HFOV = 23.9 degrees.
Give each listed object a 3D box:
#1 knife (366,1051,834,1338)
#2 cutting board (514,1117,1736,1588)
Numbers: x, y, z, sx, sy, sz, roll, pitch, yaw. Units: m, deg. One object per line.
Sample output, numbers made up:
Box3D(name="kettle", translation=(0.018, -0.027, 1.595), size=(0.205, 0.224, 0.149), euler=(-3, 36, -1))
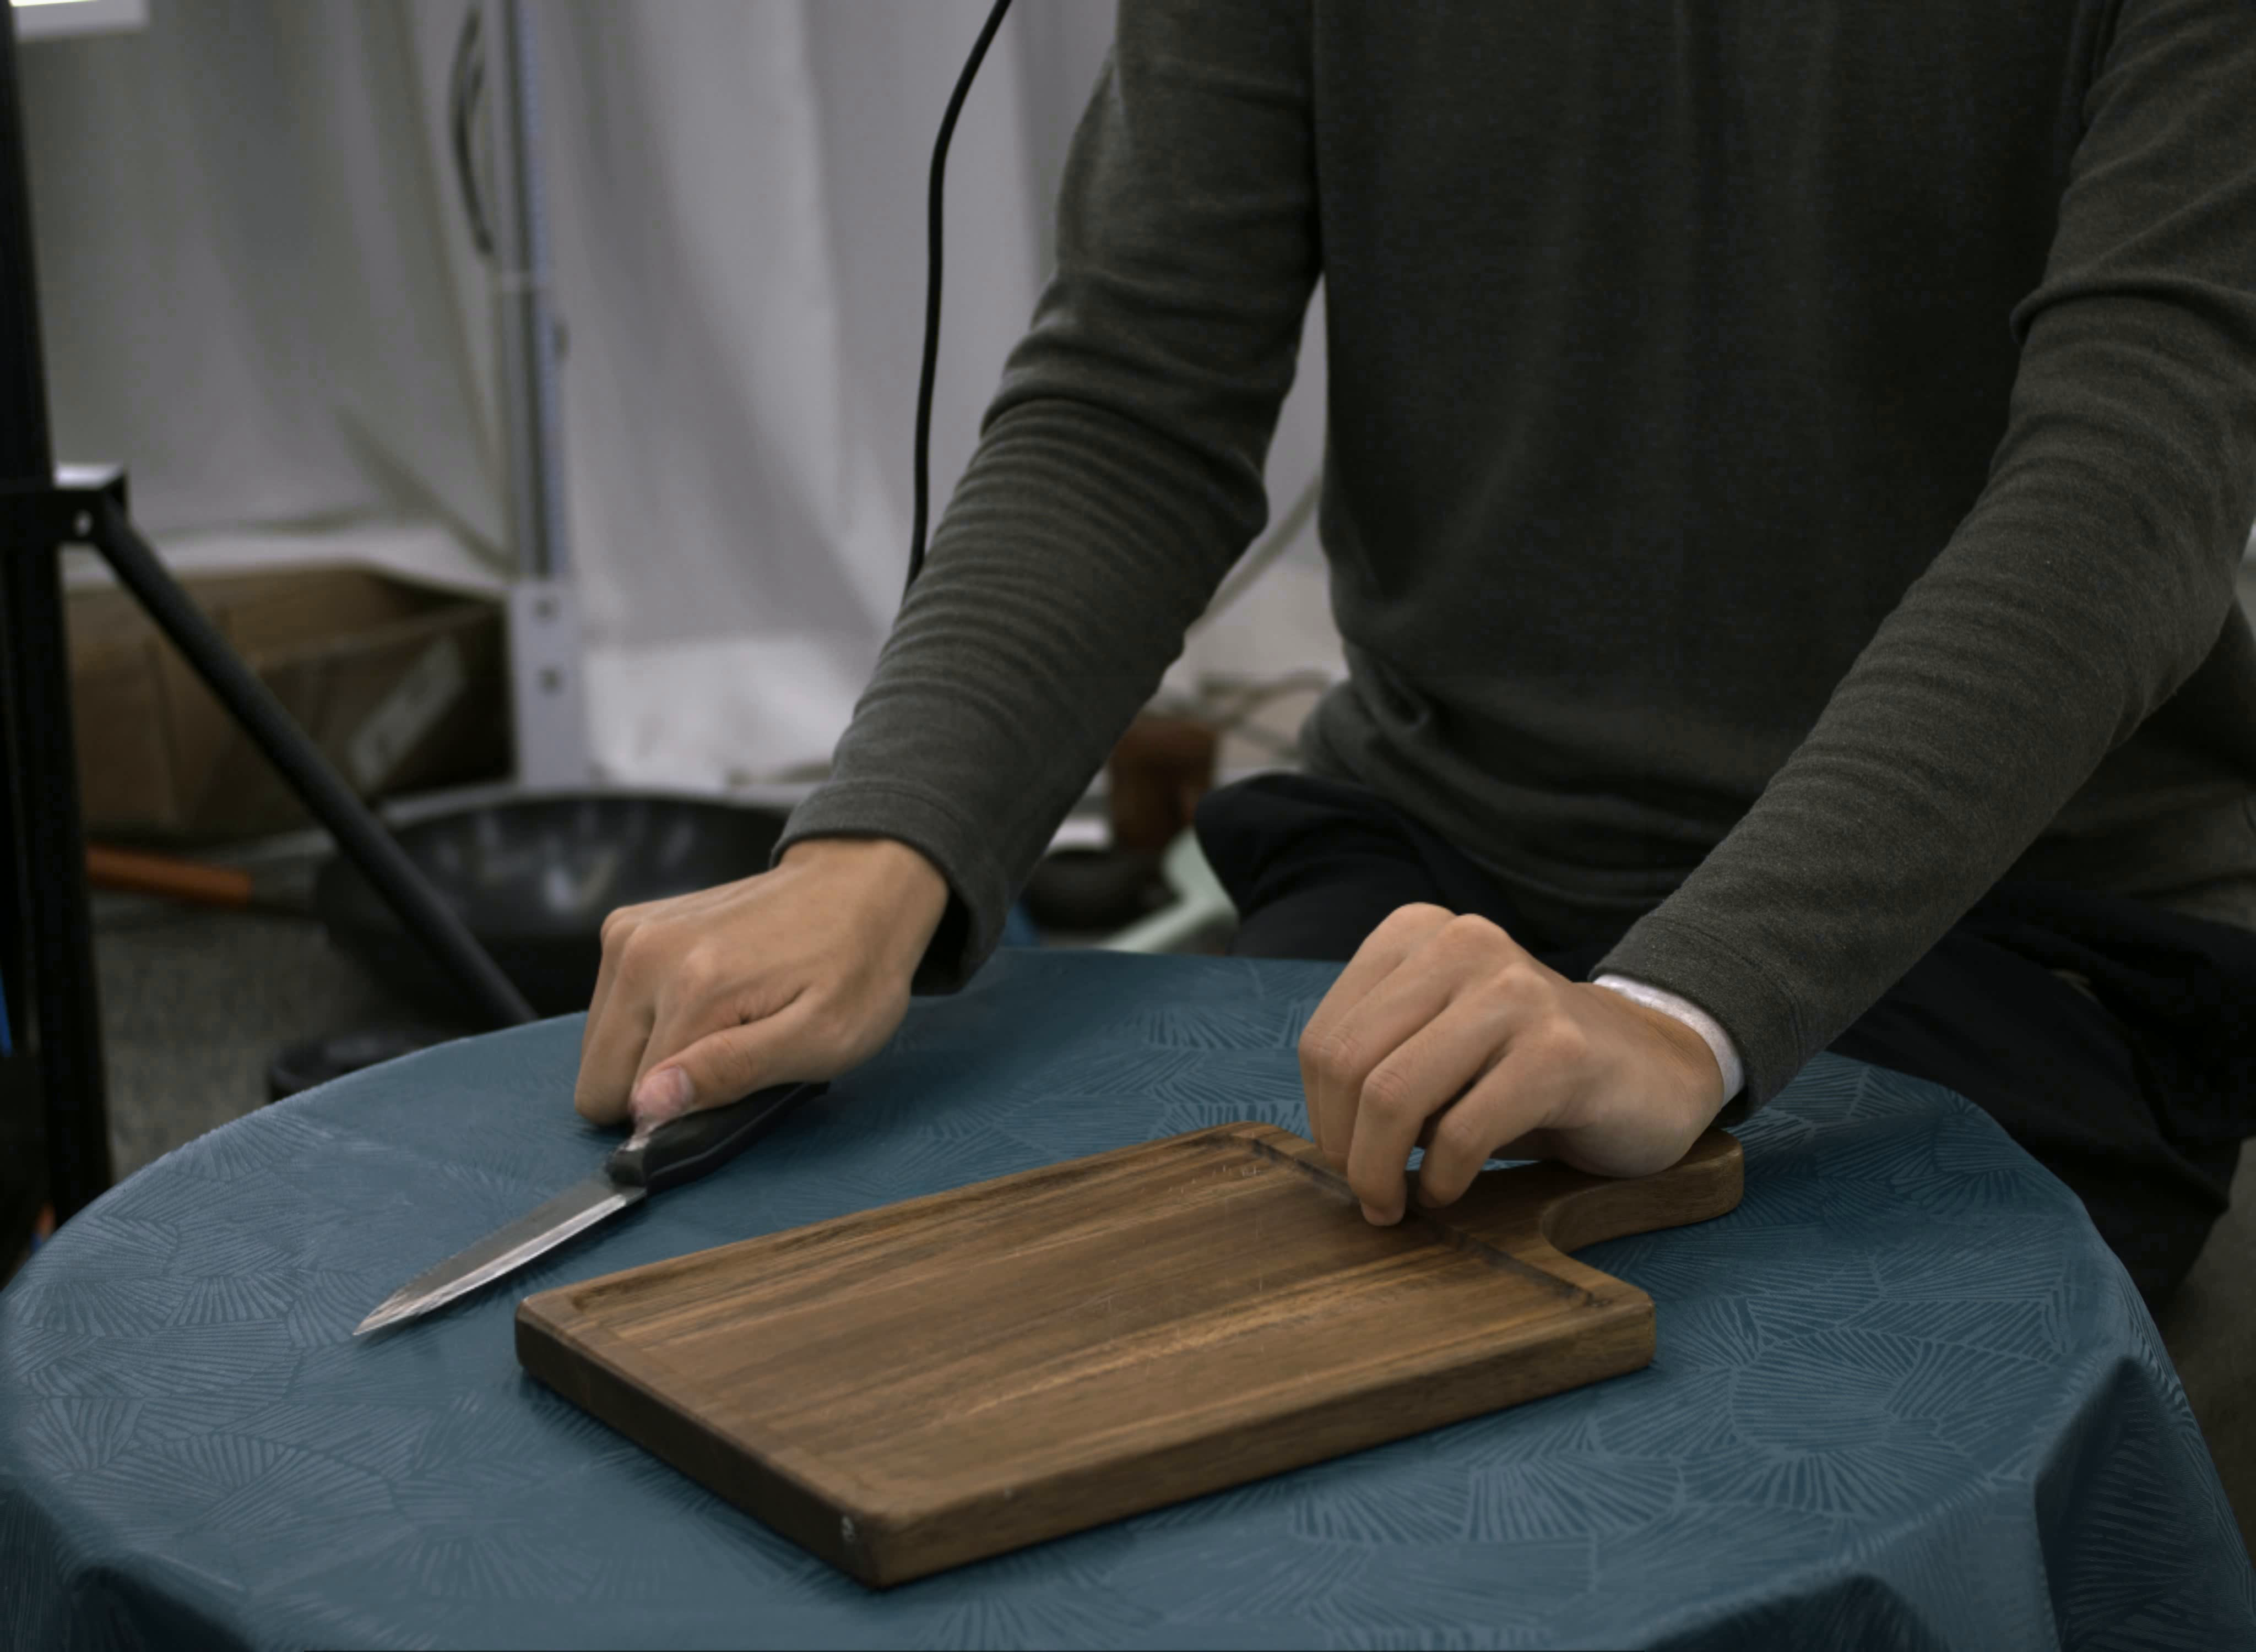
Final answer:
Box3D(name="knife", translation=(-0.155, 0.108, 1.563), size=(0.025, 0.016, 0.234), euler=(5, 18, 29))
Box3D(name="cutting board", translation=(0.029, 0.127, 1.451), size=(0.344, 0.023, 0.205), euler=(-12, 19, -31))
